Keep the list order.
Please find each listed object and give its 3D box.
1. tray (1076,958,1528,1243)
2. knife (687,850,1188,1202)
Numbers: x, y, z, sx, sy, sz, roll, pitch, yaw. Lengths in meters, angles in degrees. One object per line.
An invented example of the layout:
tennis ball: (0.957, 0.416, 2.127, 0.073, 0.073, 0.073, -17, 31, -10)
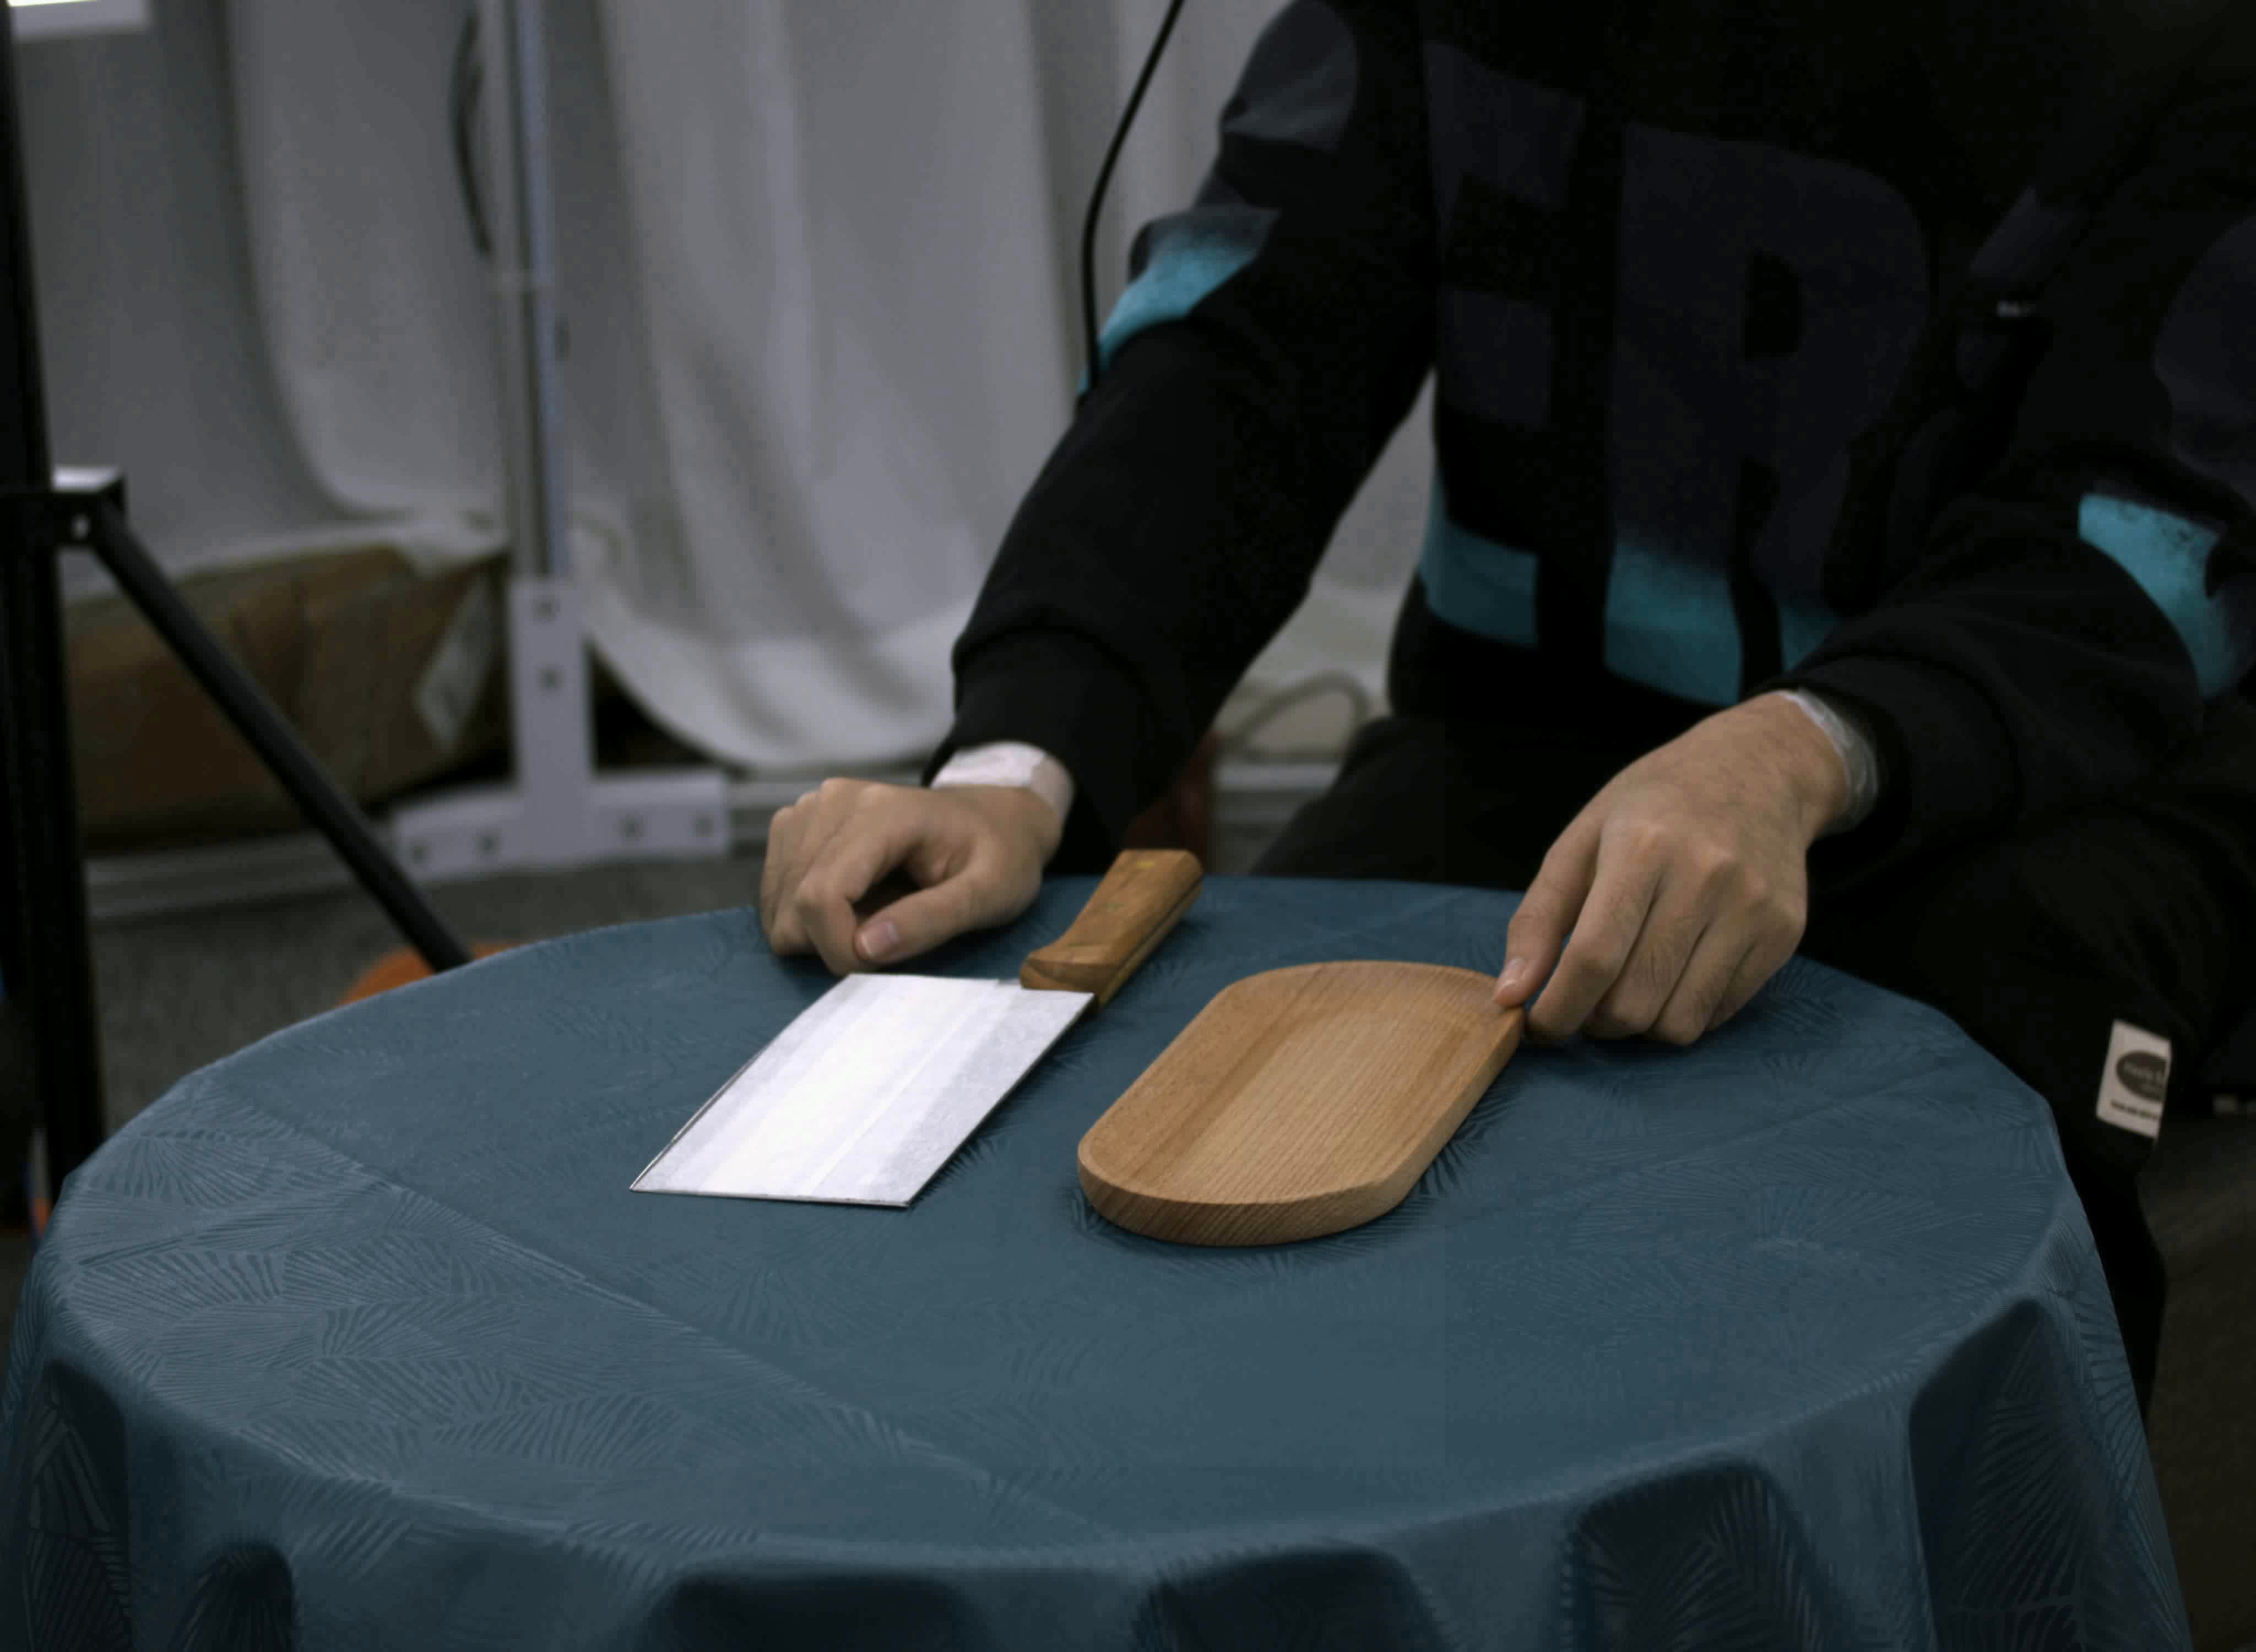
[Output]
tray: (0.056, 0.081, 1.612, 0.103, 0.020, 0.228, 4, 16, 18)
knife: (-0.059, 0.062, 1.701, 0.094, 0.021, 0.303, 1, 18, 18)
